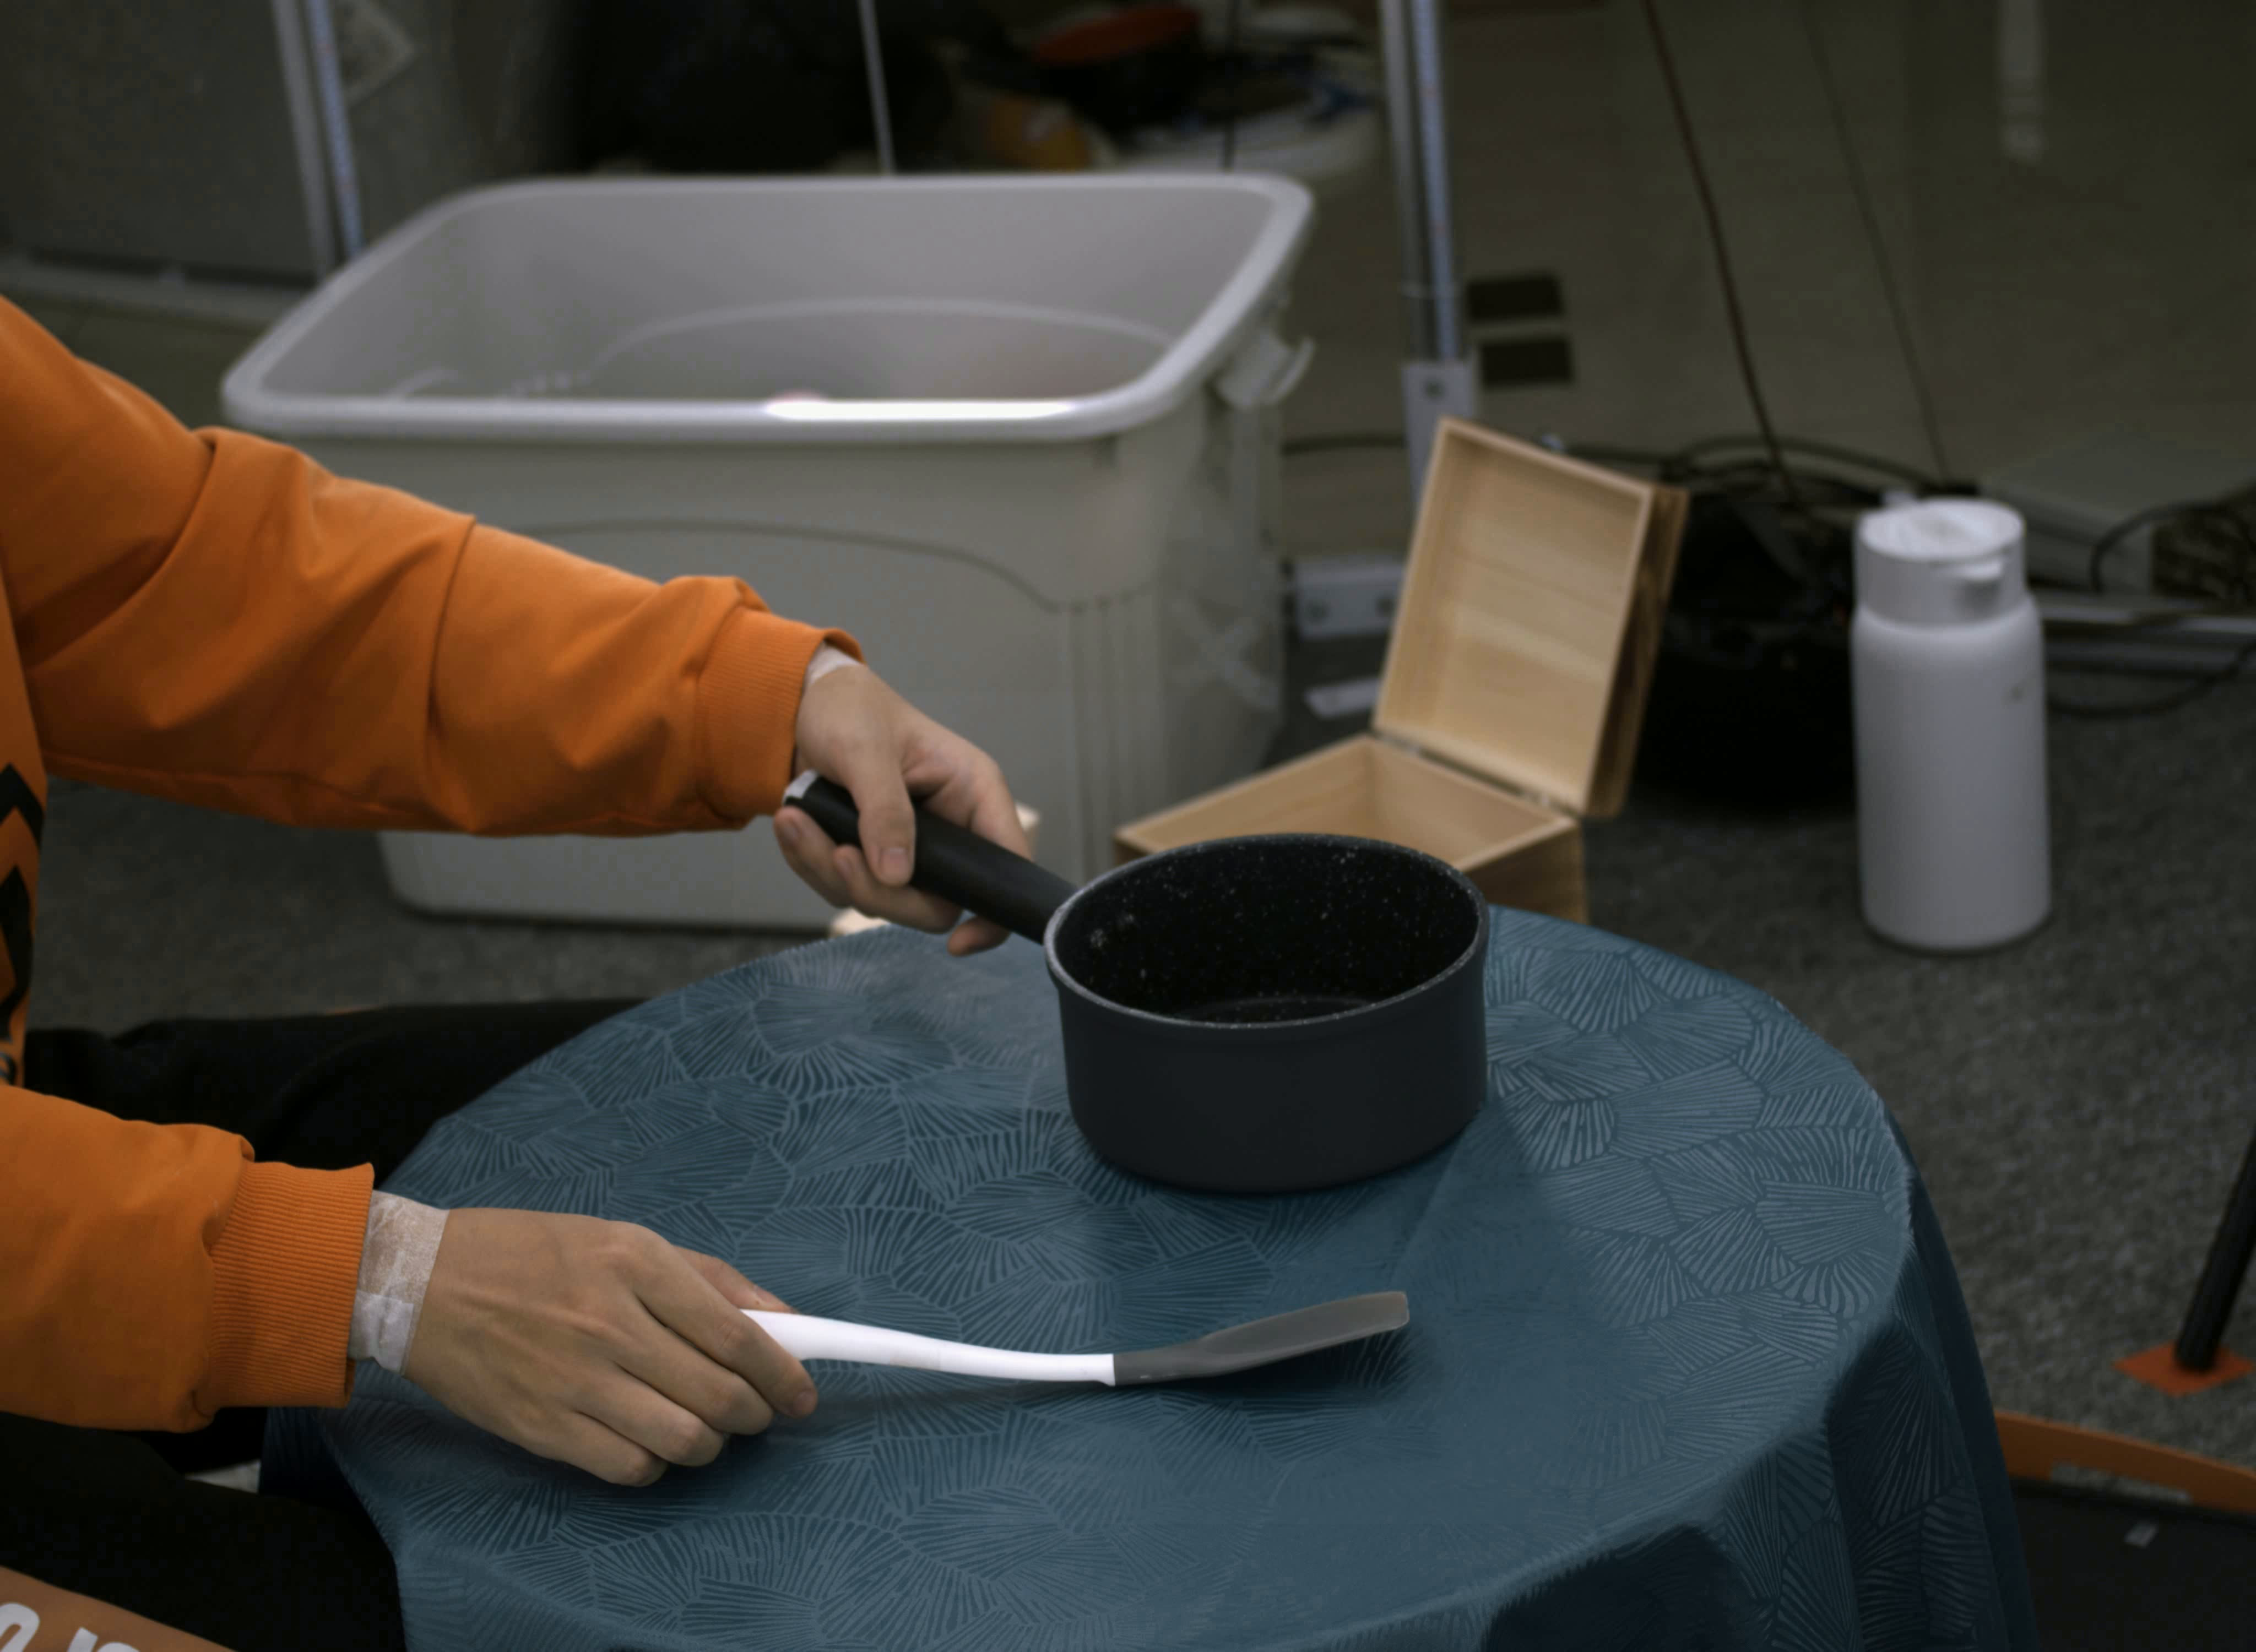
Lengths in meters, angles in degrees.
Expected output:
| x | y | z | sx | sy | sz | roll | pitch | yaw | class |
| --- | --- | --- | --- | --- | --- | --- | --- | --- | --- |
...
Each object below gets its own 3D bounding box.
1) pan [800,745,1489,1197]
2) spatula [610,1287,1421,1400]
| x | y | z | sx | sy | sz | roll | pitch | yaw | class |
| --- | --- | --- | --- | --- | --- | --- | --- | --- | --- |
| -0.004 | 0.050 | 2.229 | 0.326 | 0.088 | 0.170 | 19 | 35 | 38 | pan |
| -0.039 | 0.183 | 2.014 | 0.287 | 0.032 | 0.058 | -2 | 6 | 1 | spatula |
